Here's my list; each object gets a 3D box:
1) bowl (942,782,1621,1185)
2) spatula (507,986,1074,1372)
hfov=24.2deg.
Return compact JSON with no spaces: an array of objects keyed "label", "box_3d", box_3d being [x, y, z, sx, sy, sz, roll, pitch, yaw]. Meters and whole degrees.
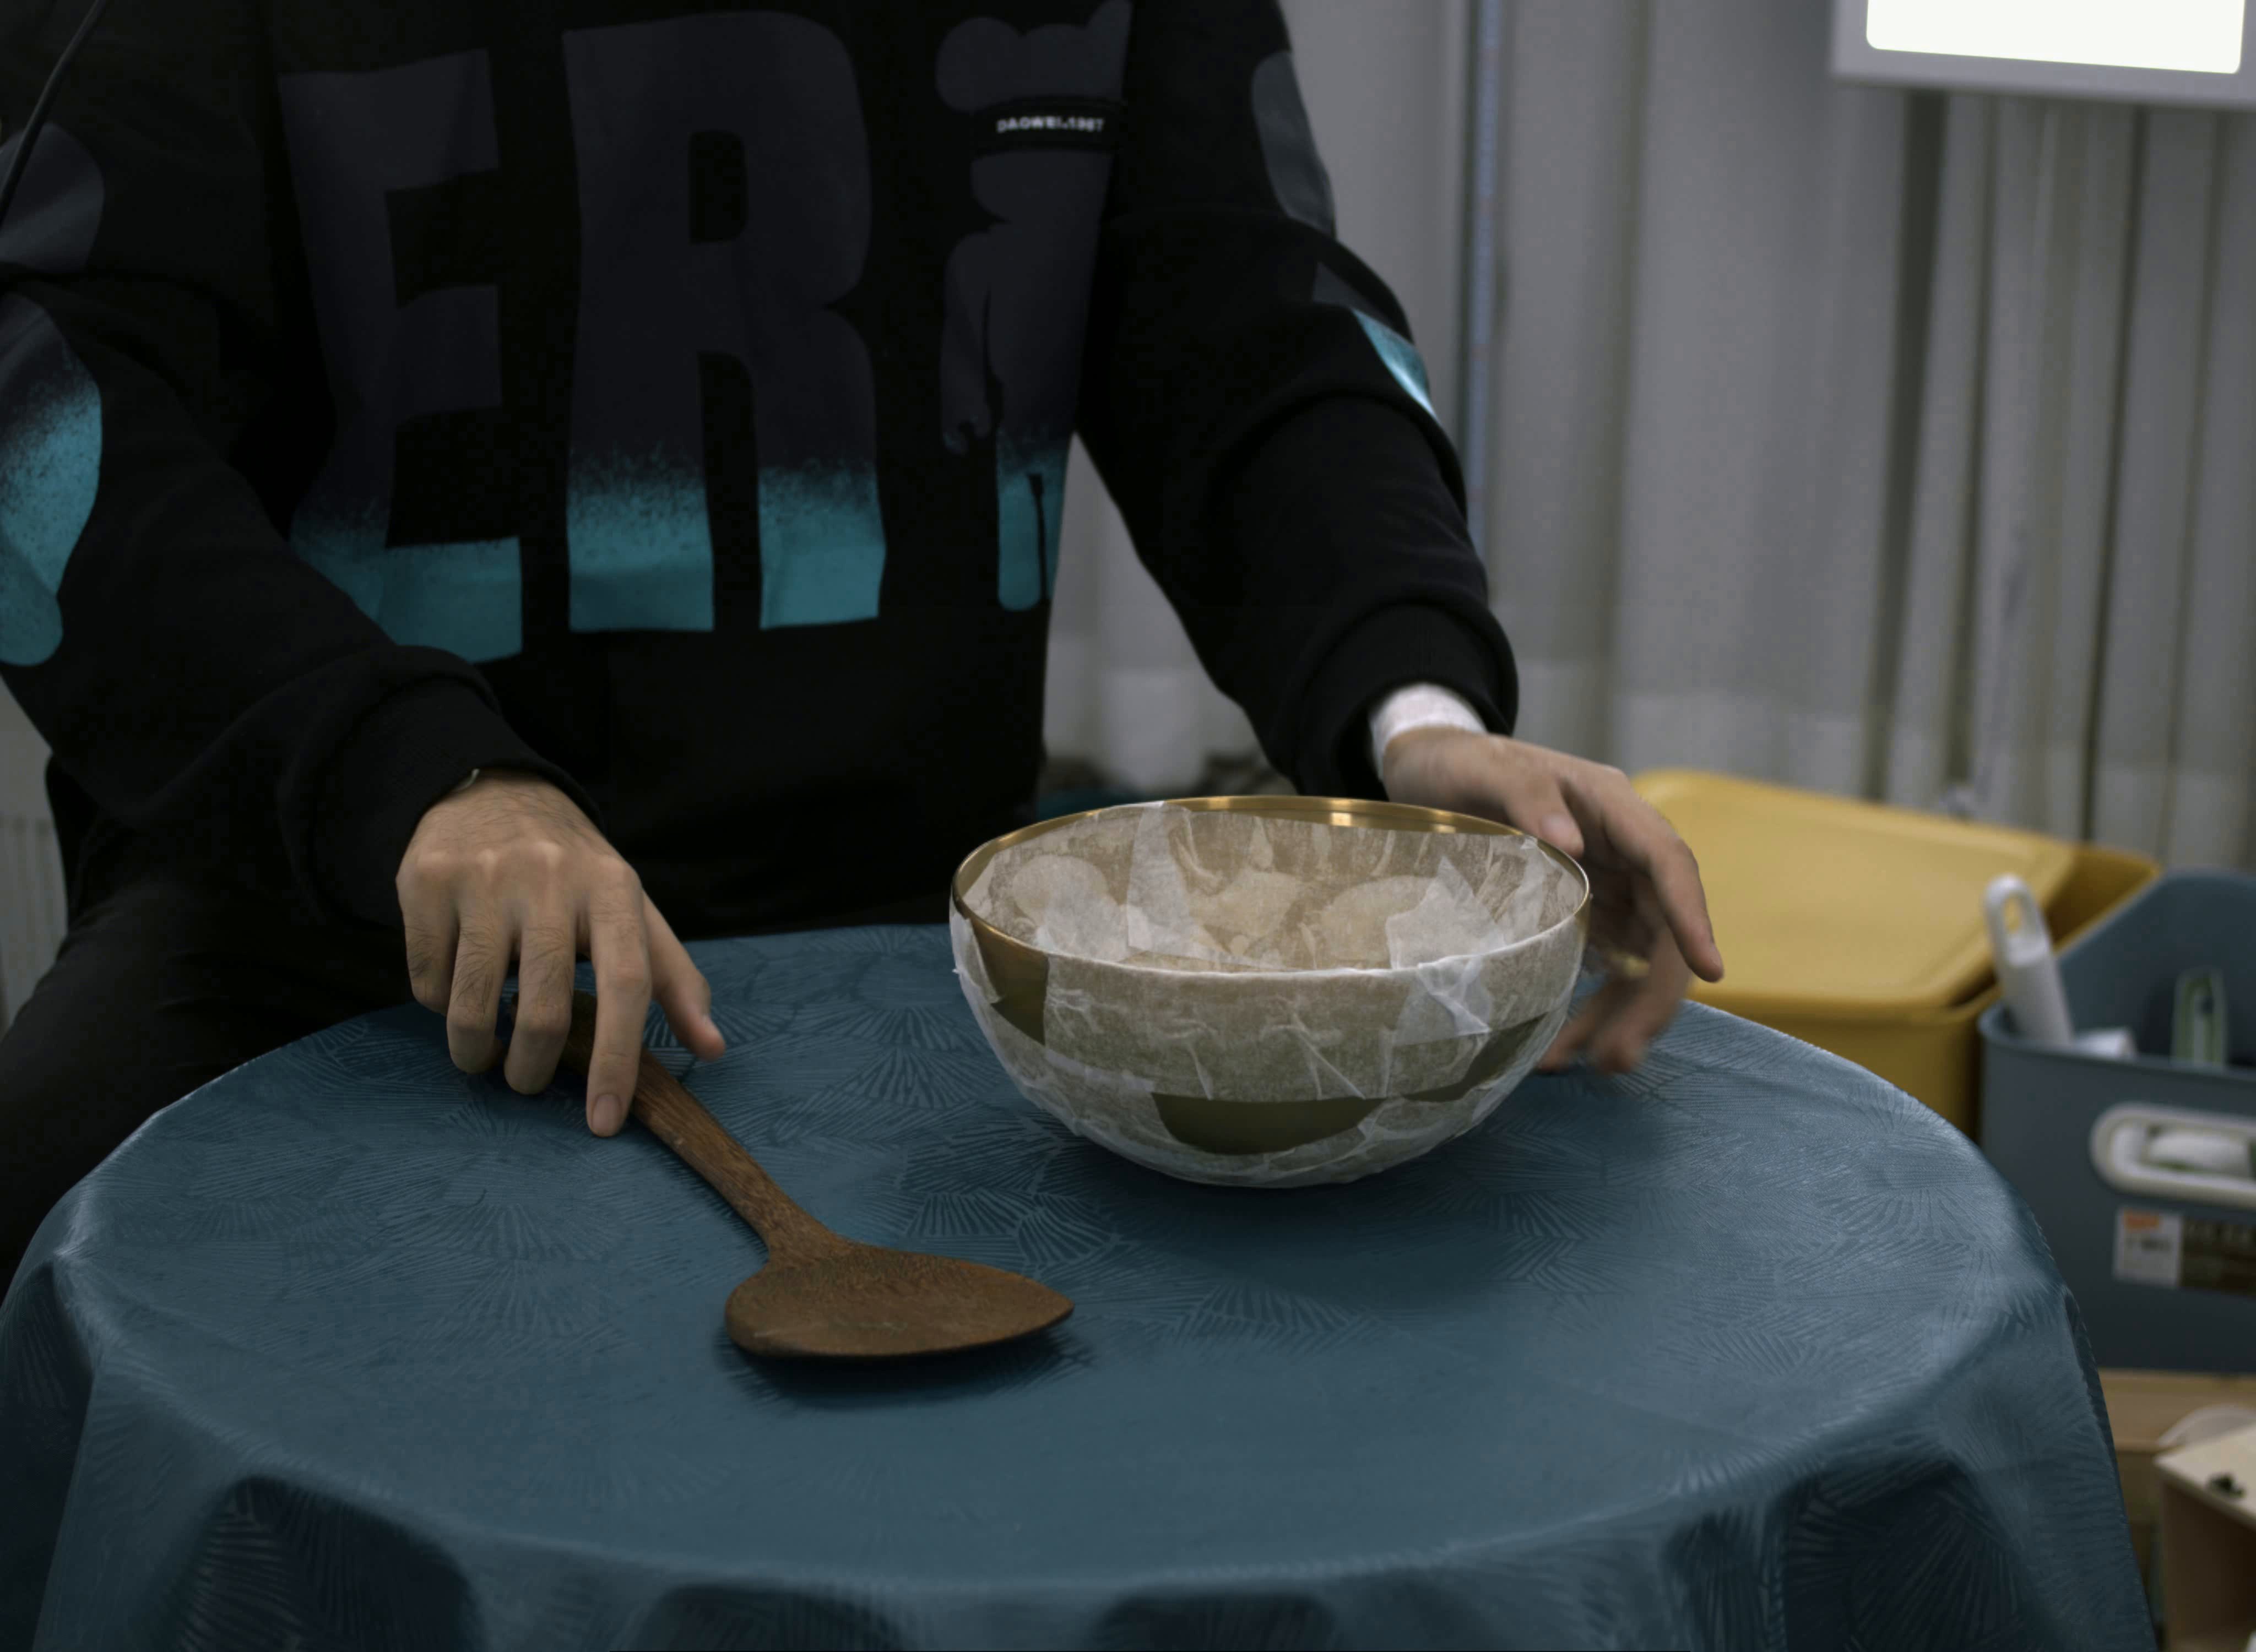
[{"label":"bowl","box_3d":[0.047,0.057,1.649,0.214,0.095,0.213,-1,16,1]},{"label":"spatula","box_3d":[-0.127,0.103,1.630,0.096,0.016,0.381,-6,17,-23]}]
